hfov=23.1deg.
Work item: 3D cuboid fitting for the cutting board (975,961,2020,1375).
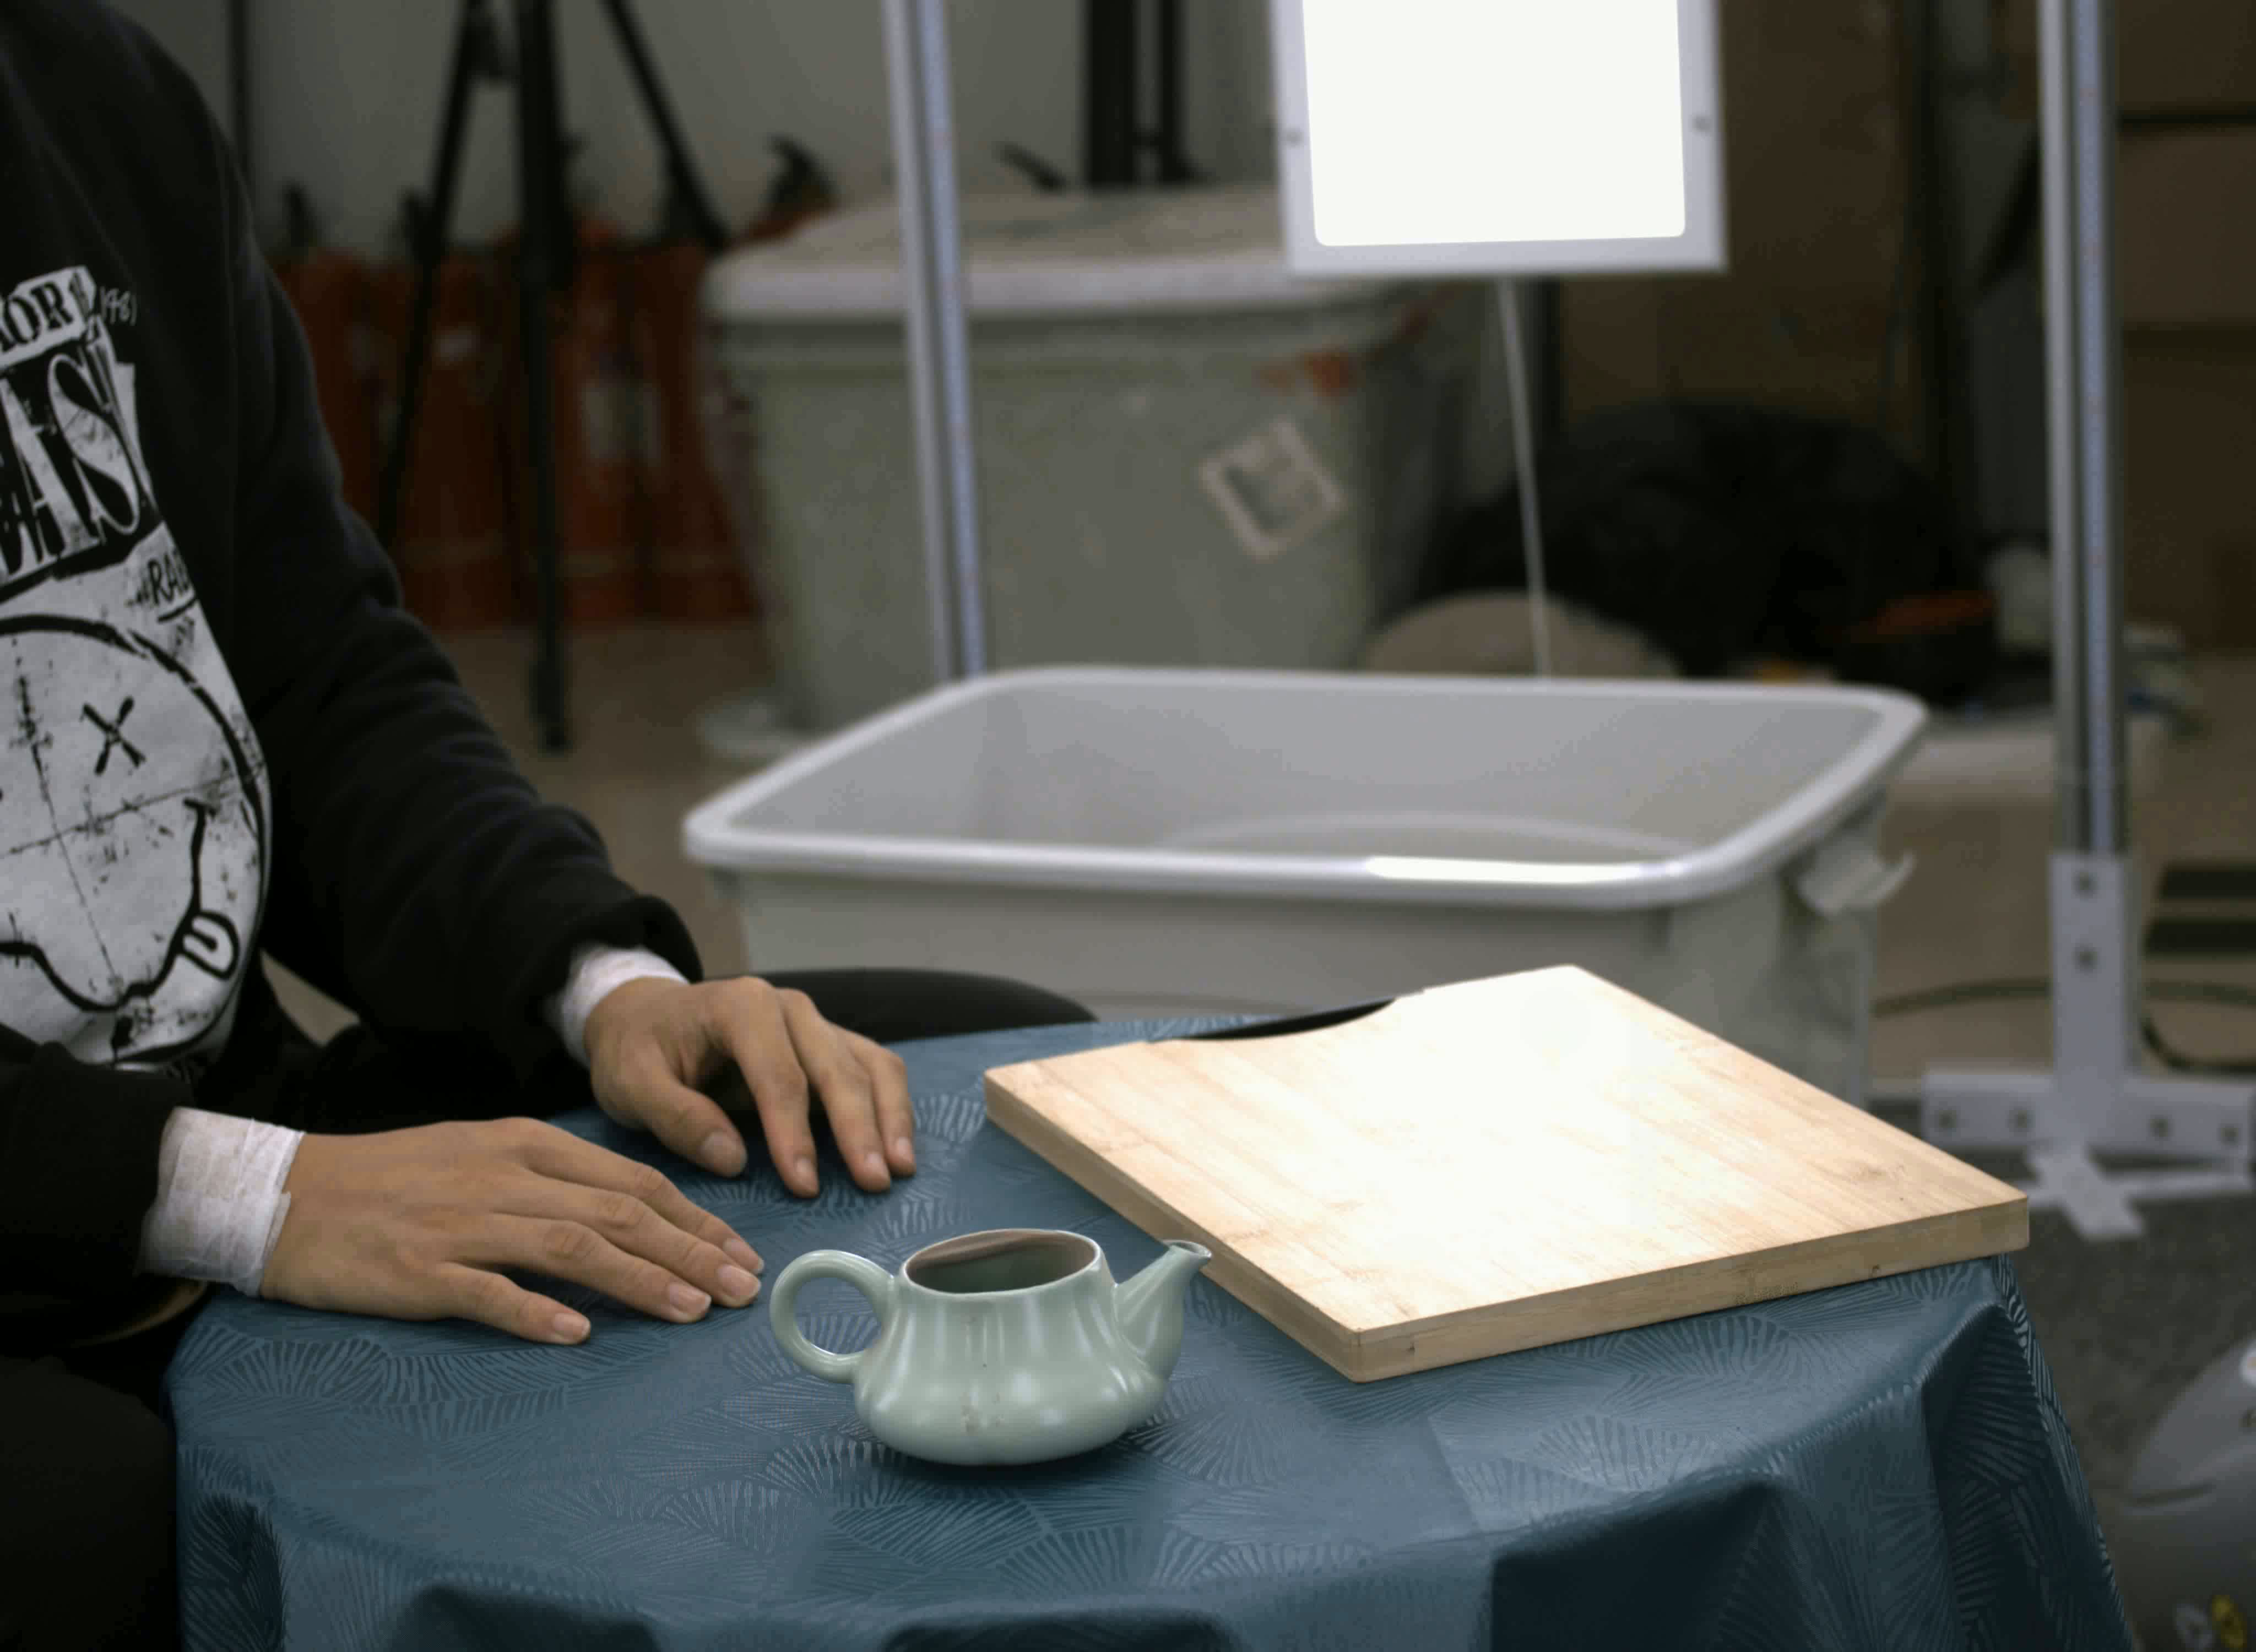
[{"bbox_3d":[0.117,0.112,1.883,0.246,0.023,0.353,-10,15,-20],"label":"cutting board"}]

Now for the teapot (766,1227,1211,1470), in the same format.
[{"bbox_3d":[-0.041,0.157,1.665,0.137,0.061,0.095,-3,15,8],"label":"teapot"}]
